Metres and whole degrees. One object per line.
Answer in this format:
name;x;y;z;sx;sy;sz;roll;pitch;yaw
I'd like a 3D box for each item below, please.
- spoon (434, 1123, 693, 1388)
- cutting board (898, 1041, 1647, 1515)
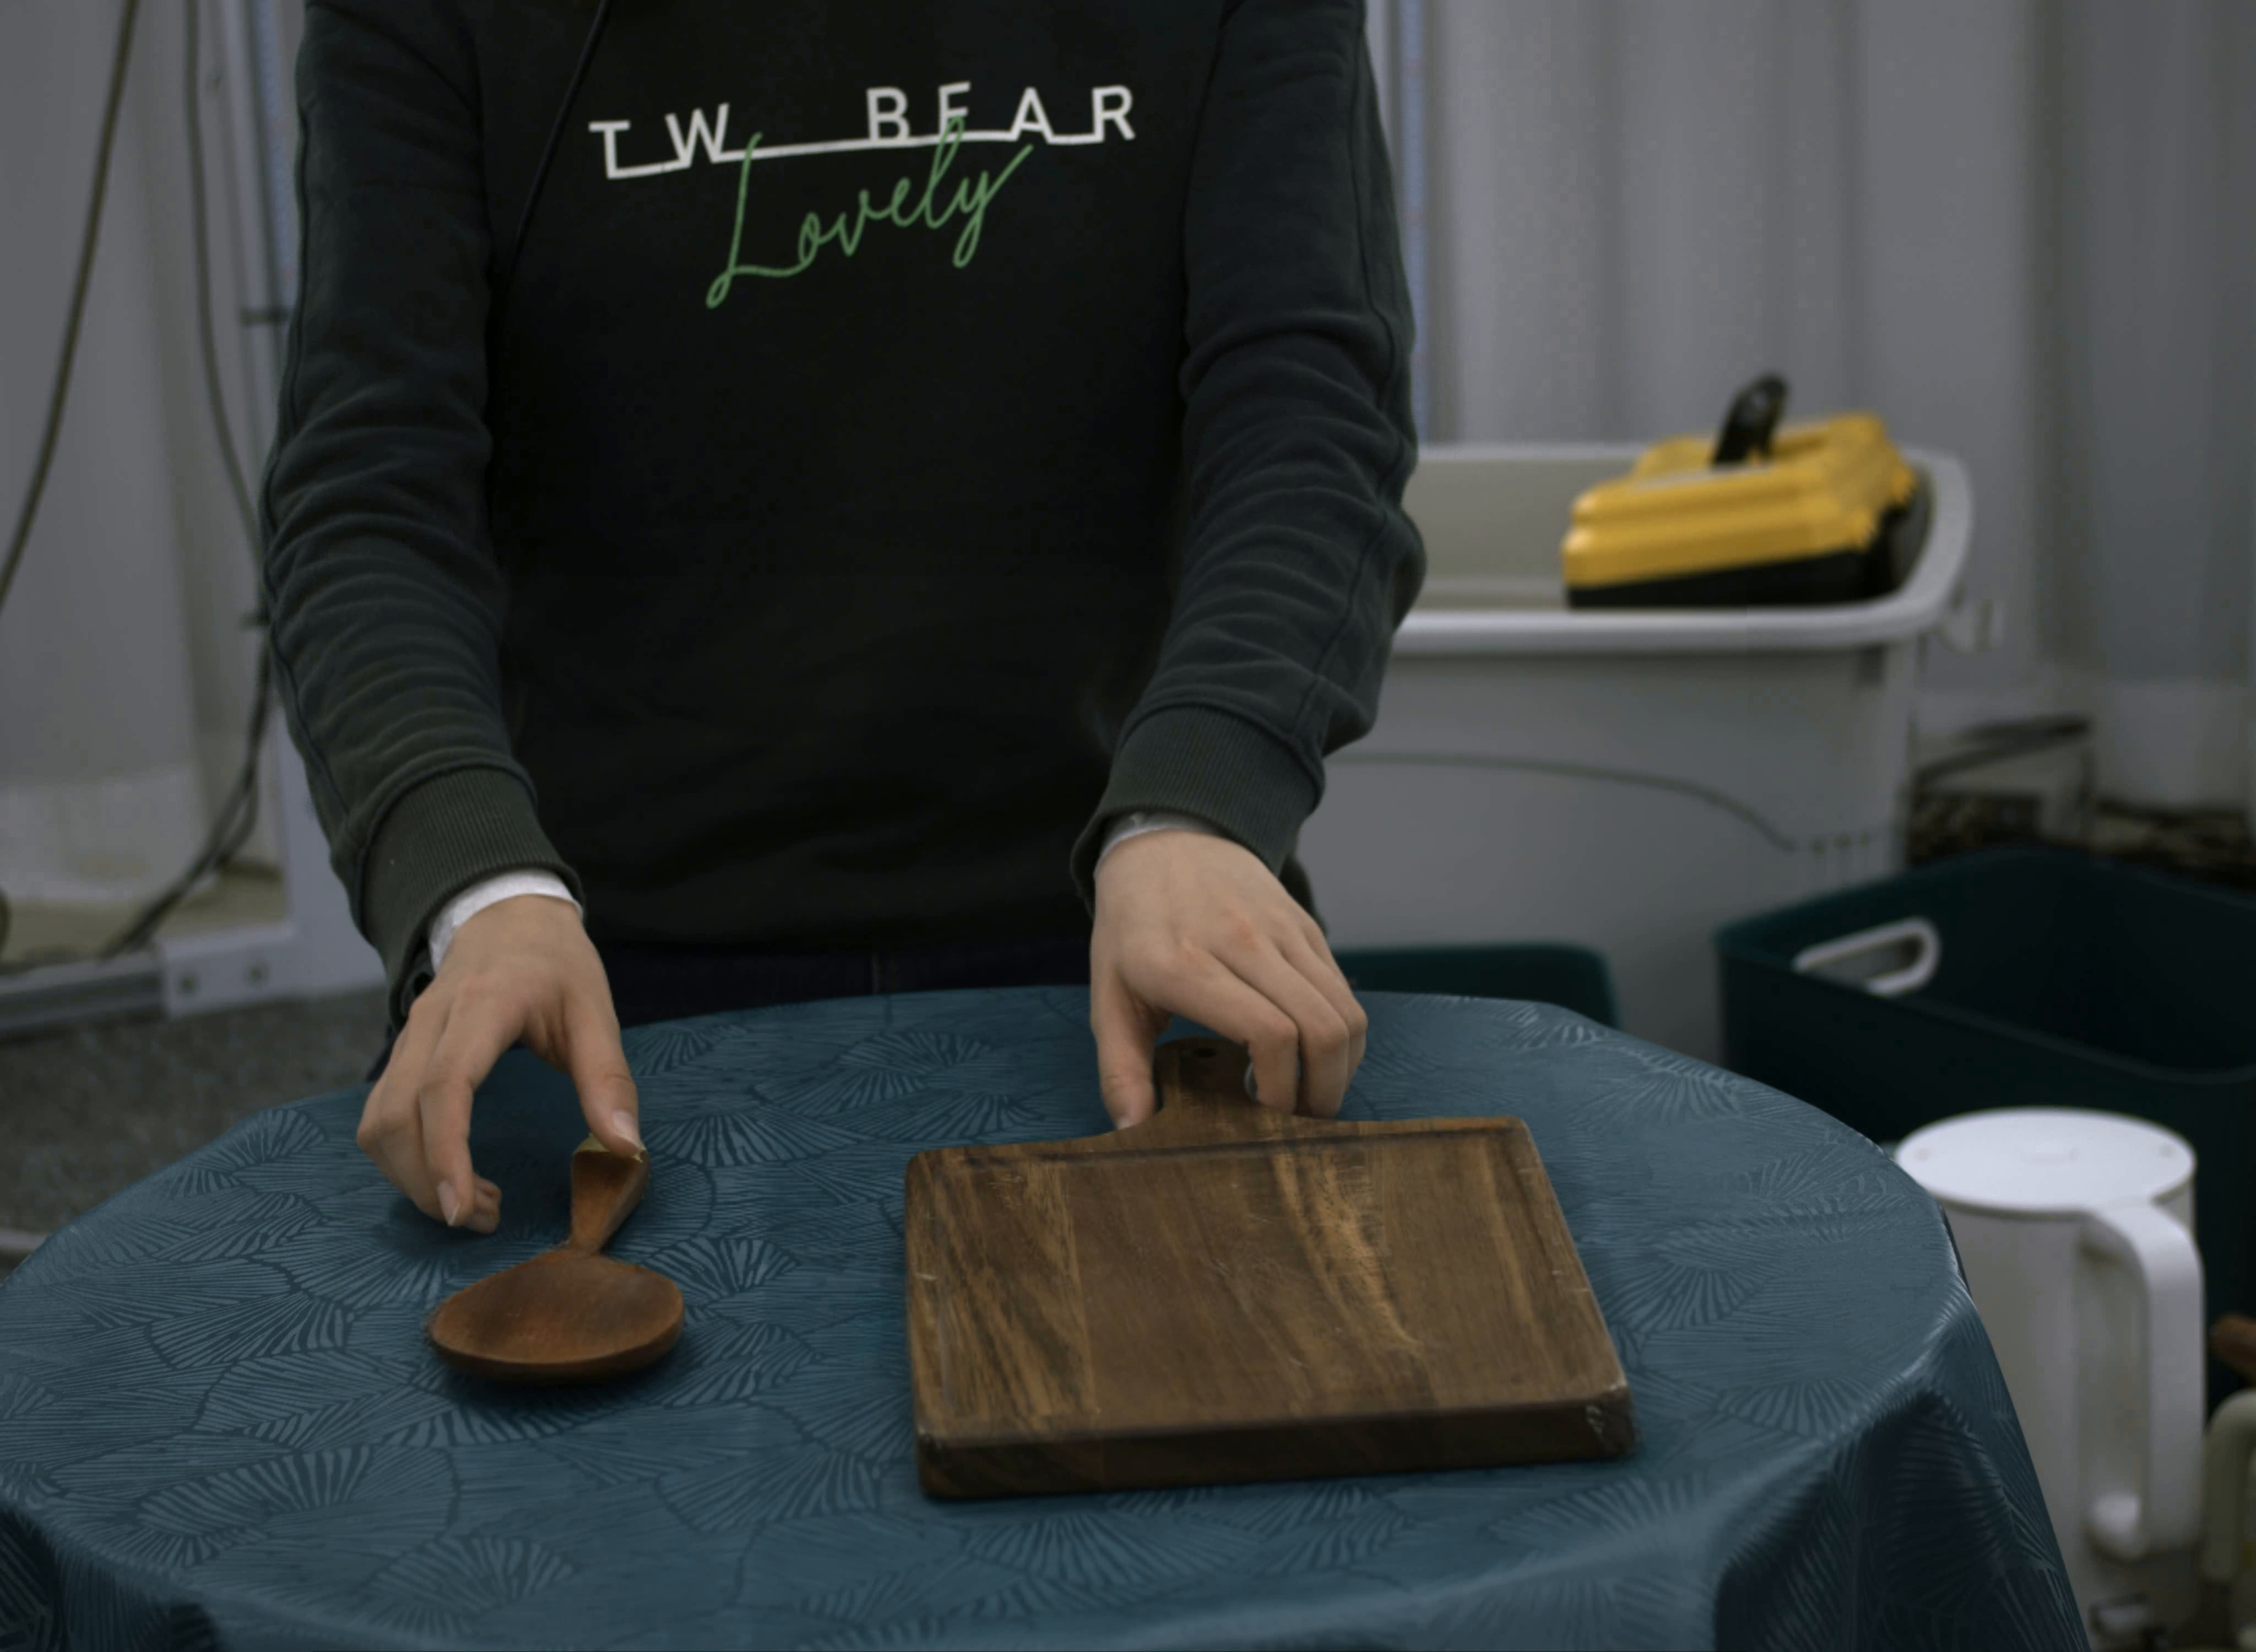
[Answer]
spoon;-0.164;0.131;1.651;0.075;0.017;0.217;-4;15;1
cutting board;0.032;0.125;1.637;0.200;0.023;0.354;-4;15;-2
